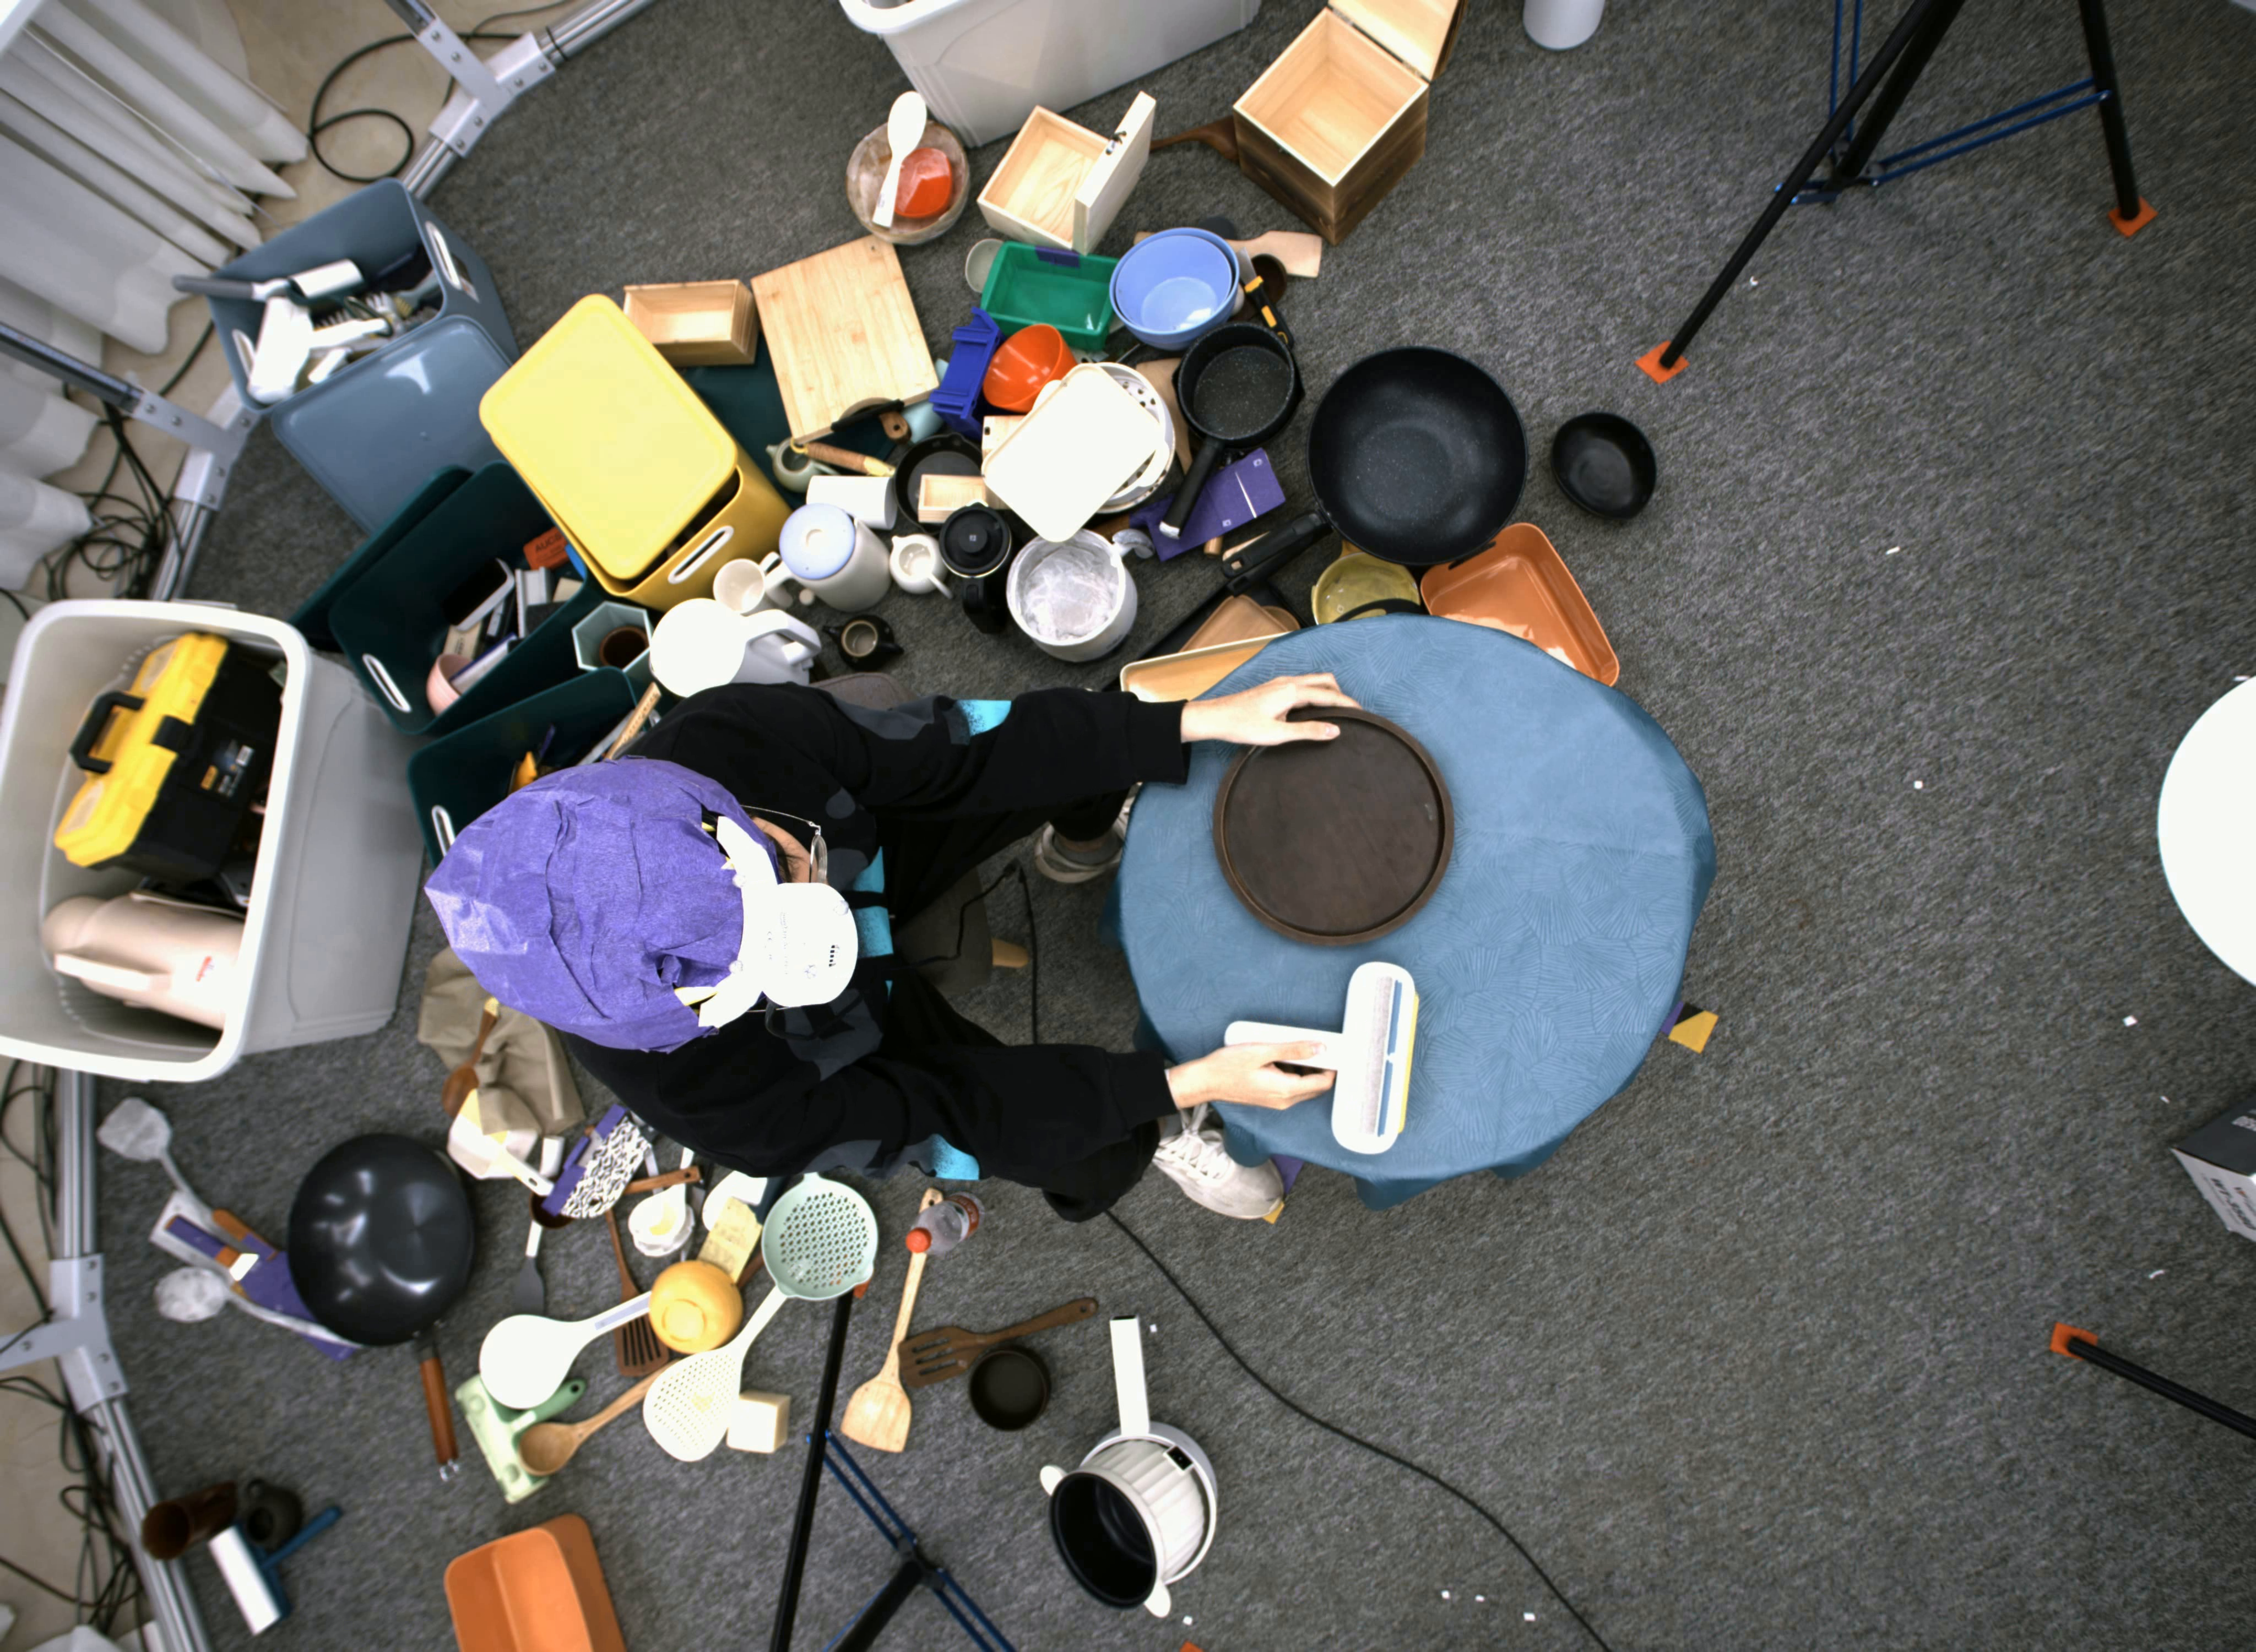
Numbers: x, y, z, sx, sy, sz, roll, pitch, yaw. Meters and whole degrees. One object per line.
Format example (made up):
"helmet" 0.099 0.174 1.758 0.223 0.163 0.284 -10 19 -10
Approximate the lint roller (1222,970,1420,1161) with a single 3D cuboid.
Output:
"lint roller" 0.191 0.231 1.420 0.193 0.074 0.192 11 85 5

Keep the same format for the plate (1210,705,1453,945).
"plate" 0.213 -0.002 1.450 0.256 0.029 0.254 0 91 11
